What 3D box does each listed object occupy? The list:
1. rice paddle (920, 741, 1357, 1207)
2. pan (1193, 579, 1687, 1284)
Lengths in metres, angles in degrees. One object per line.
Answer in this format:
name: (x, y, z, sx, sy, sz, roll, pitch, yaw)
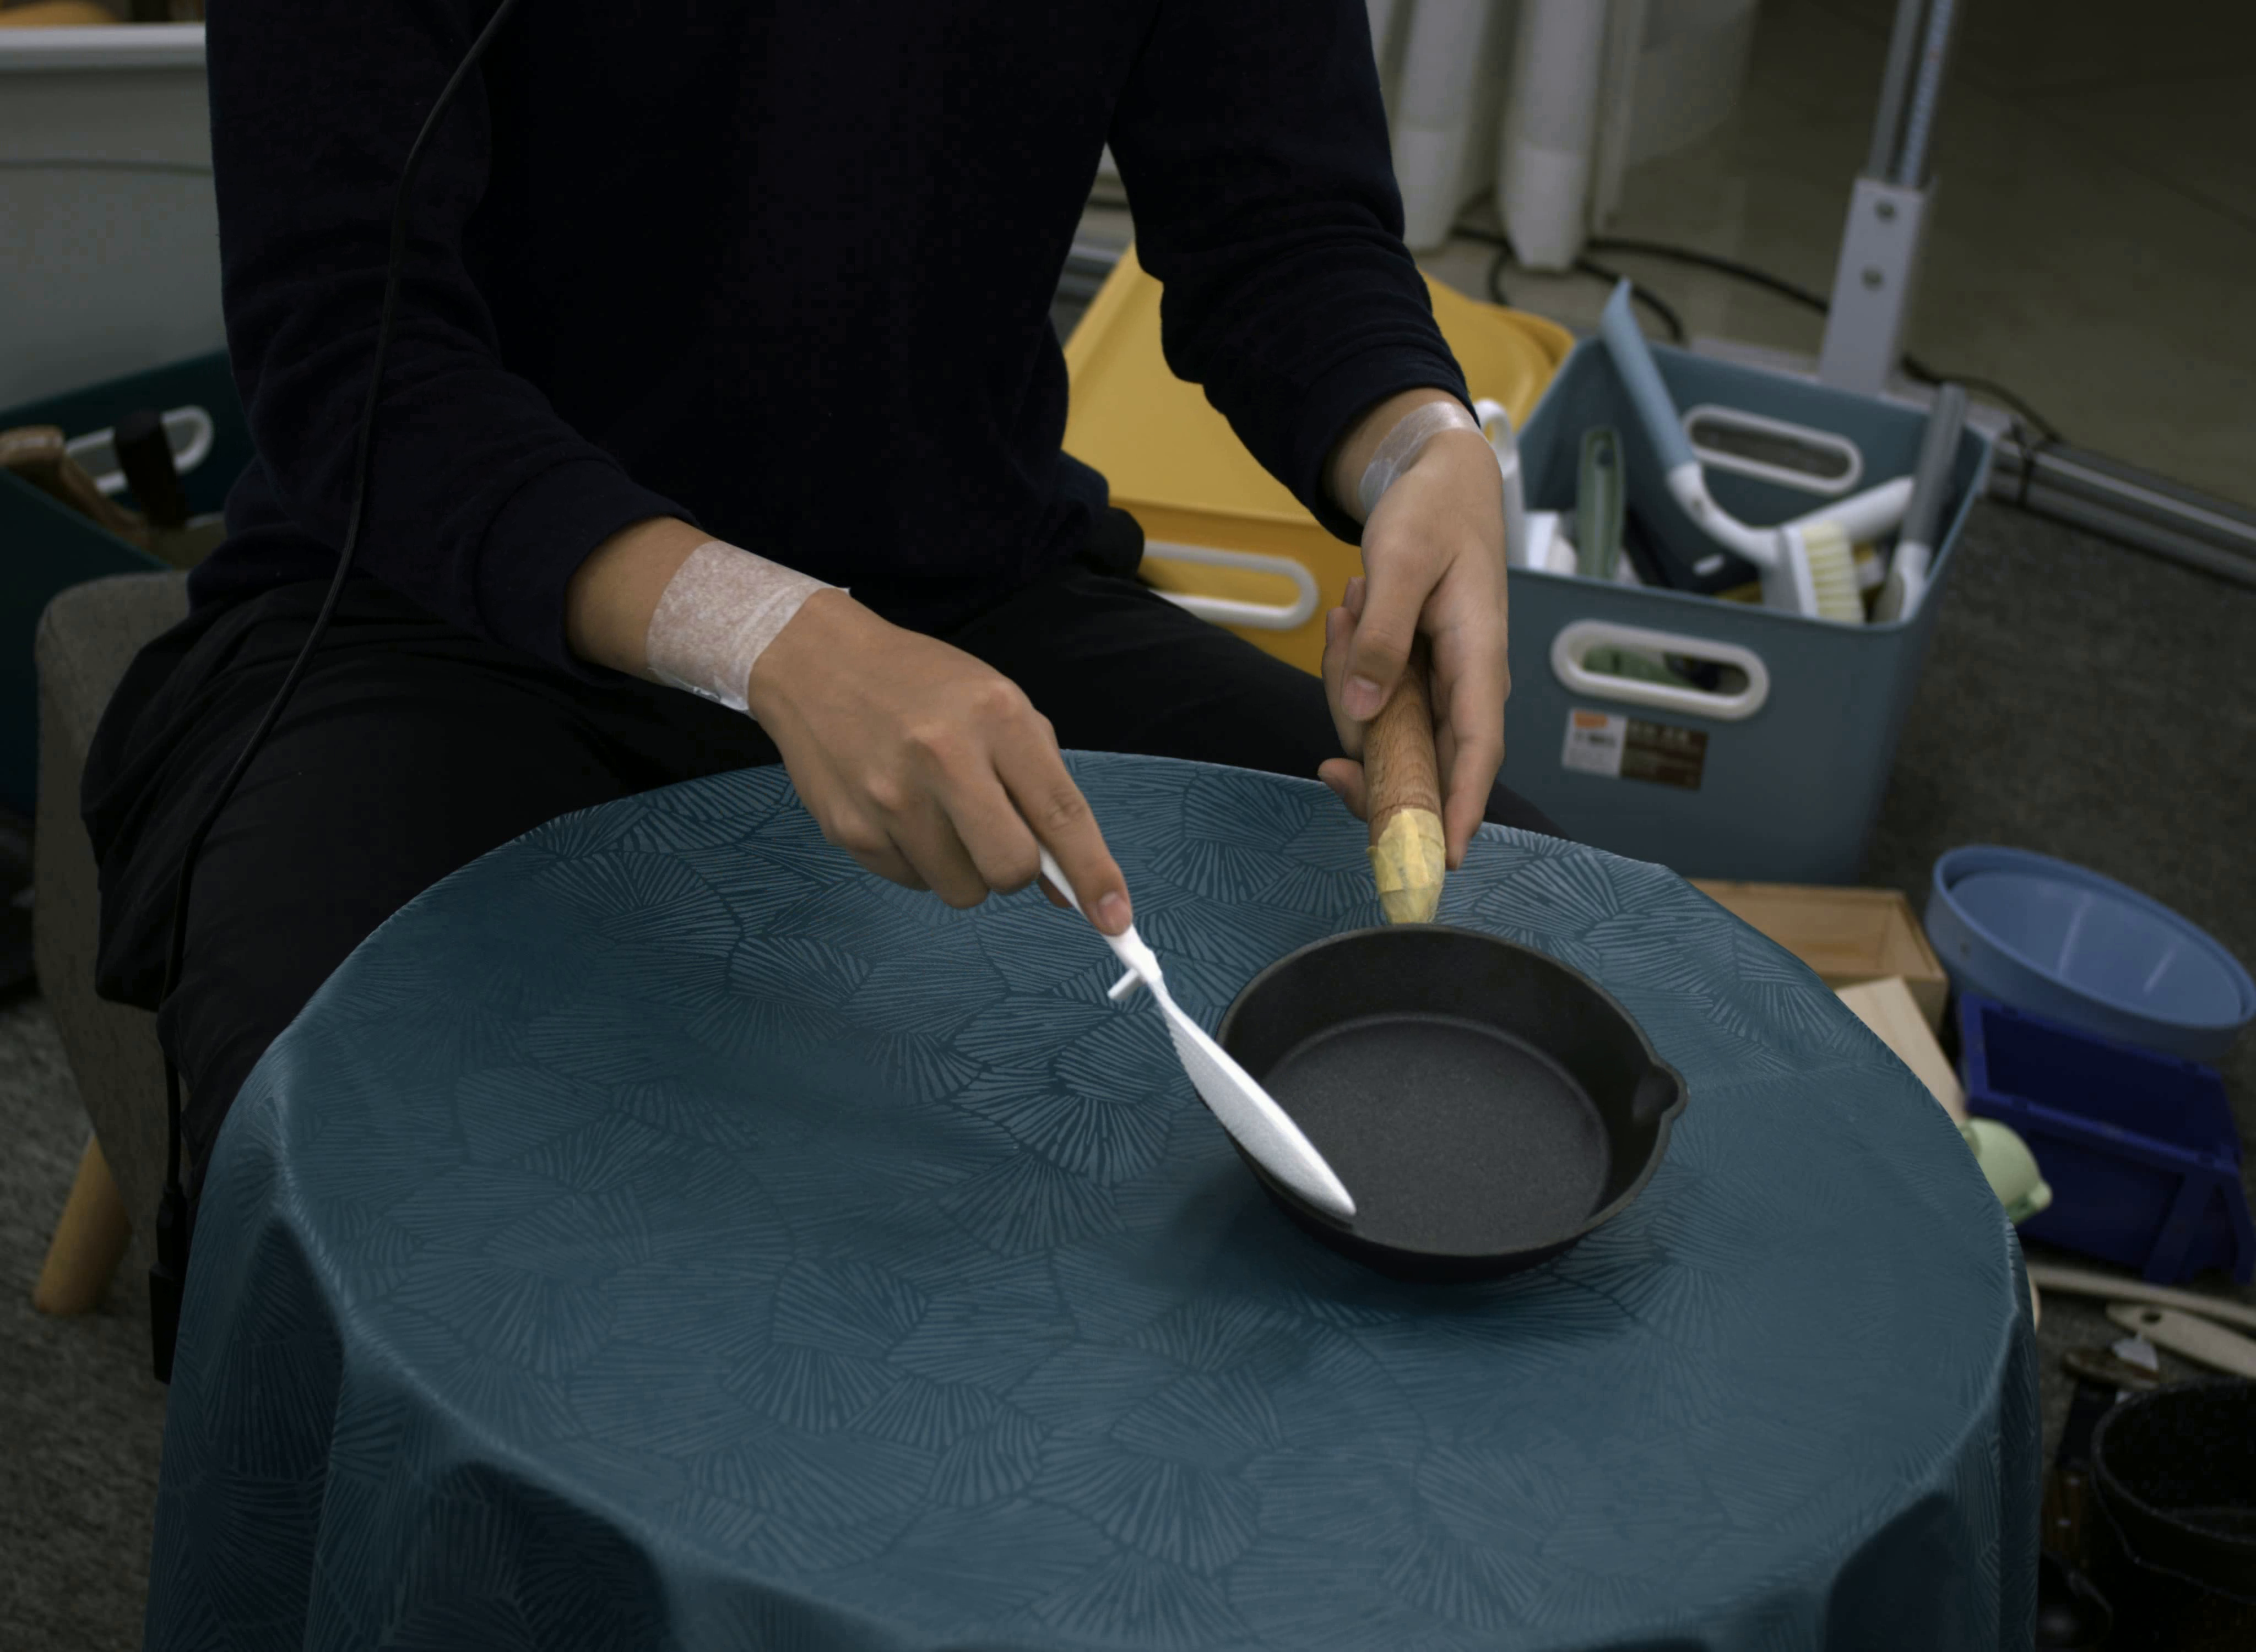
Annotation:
rice paddle: (0.009, 0.052, 1.772, 0.206, 0.029, 0.068, 46, 4, 18)
pan: (0.103, 0.035, 1.864, 0.168, 0.049, 0.327, 3, 43, -4)
